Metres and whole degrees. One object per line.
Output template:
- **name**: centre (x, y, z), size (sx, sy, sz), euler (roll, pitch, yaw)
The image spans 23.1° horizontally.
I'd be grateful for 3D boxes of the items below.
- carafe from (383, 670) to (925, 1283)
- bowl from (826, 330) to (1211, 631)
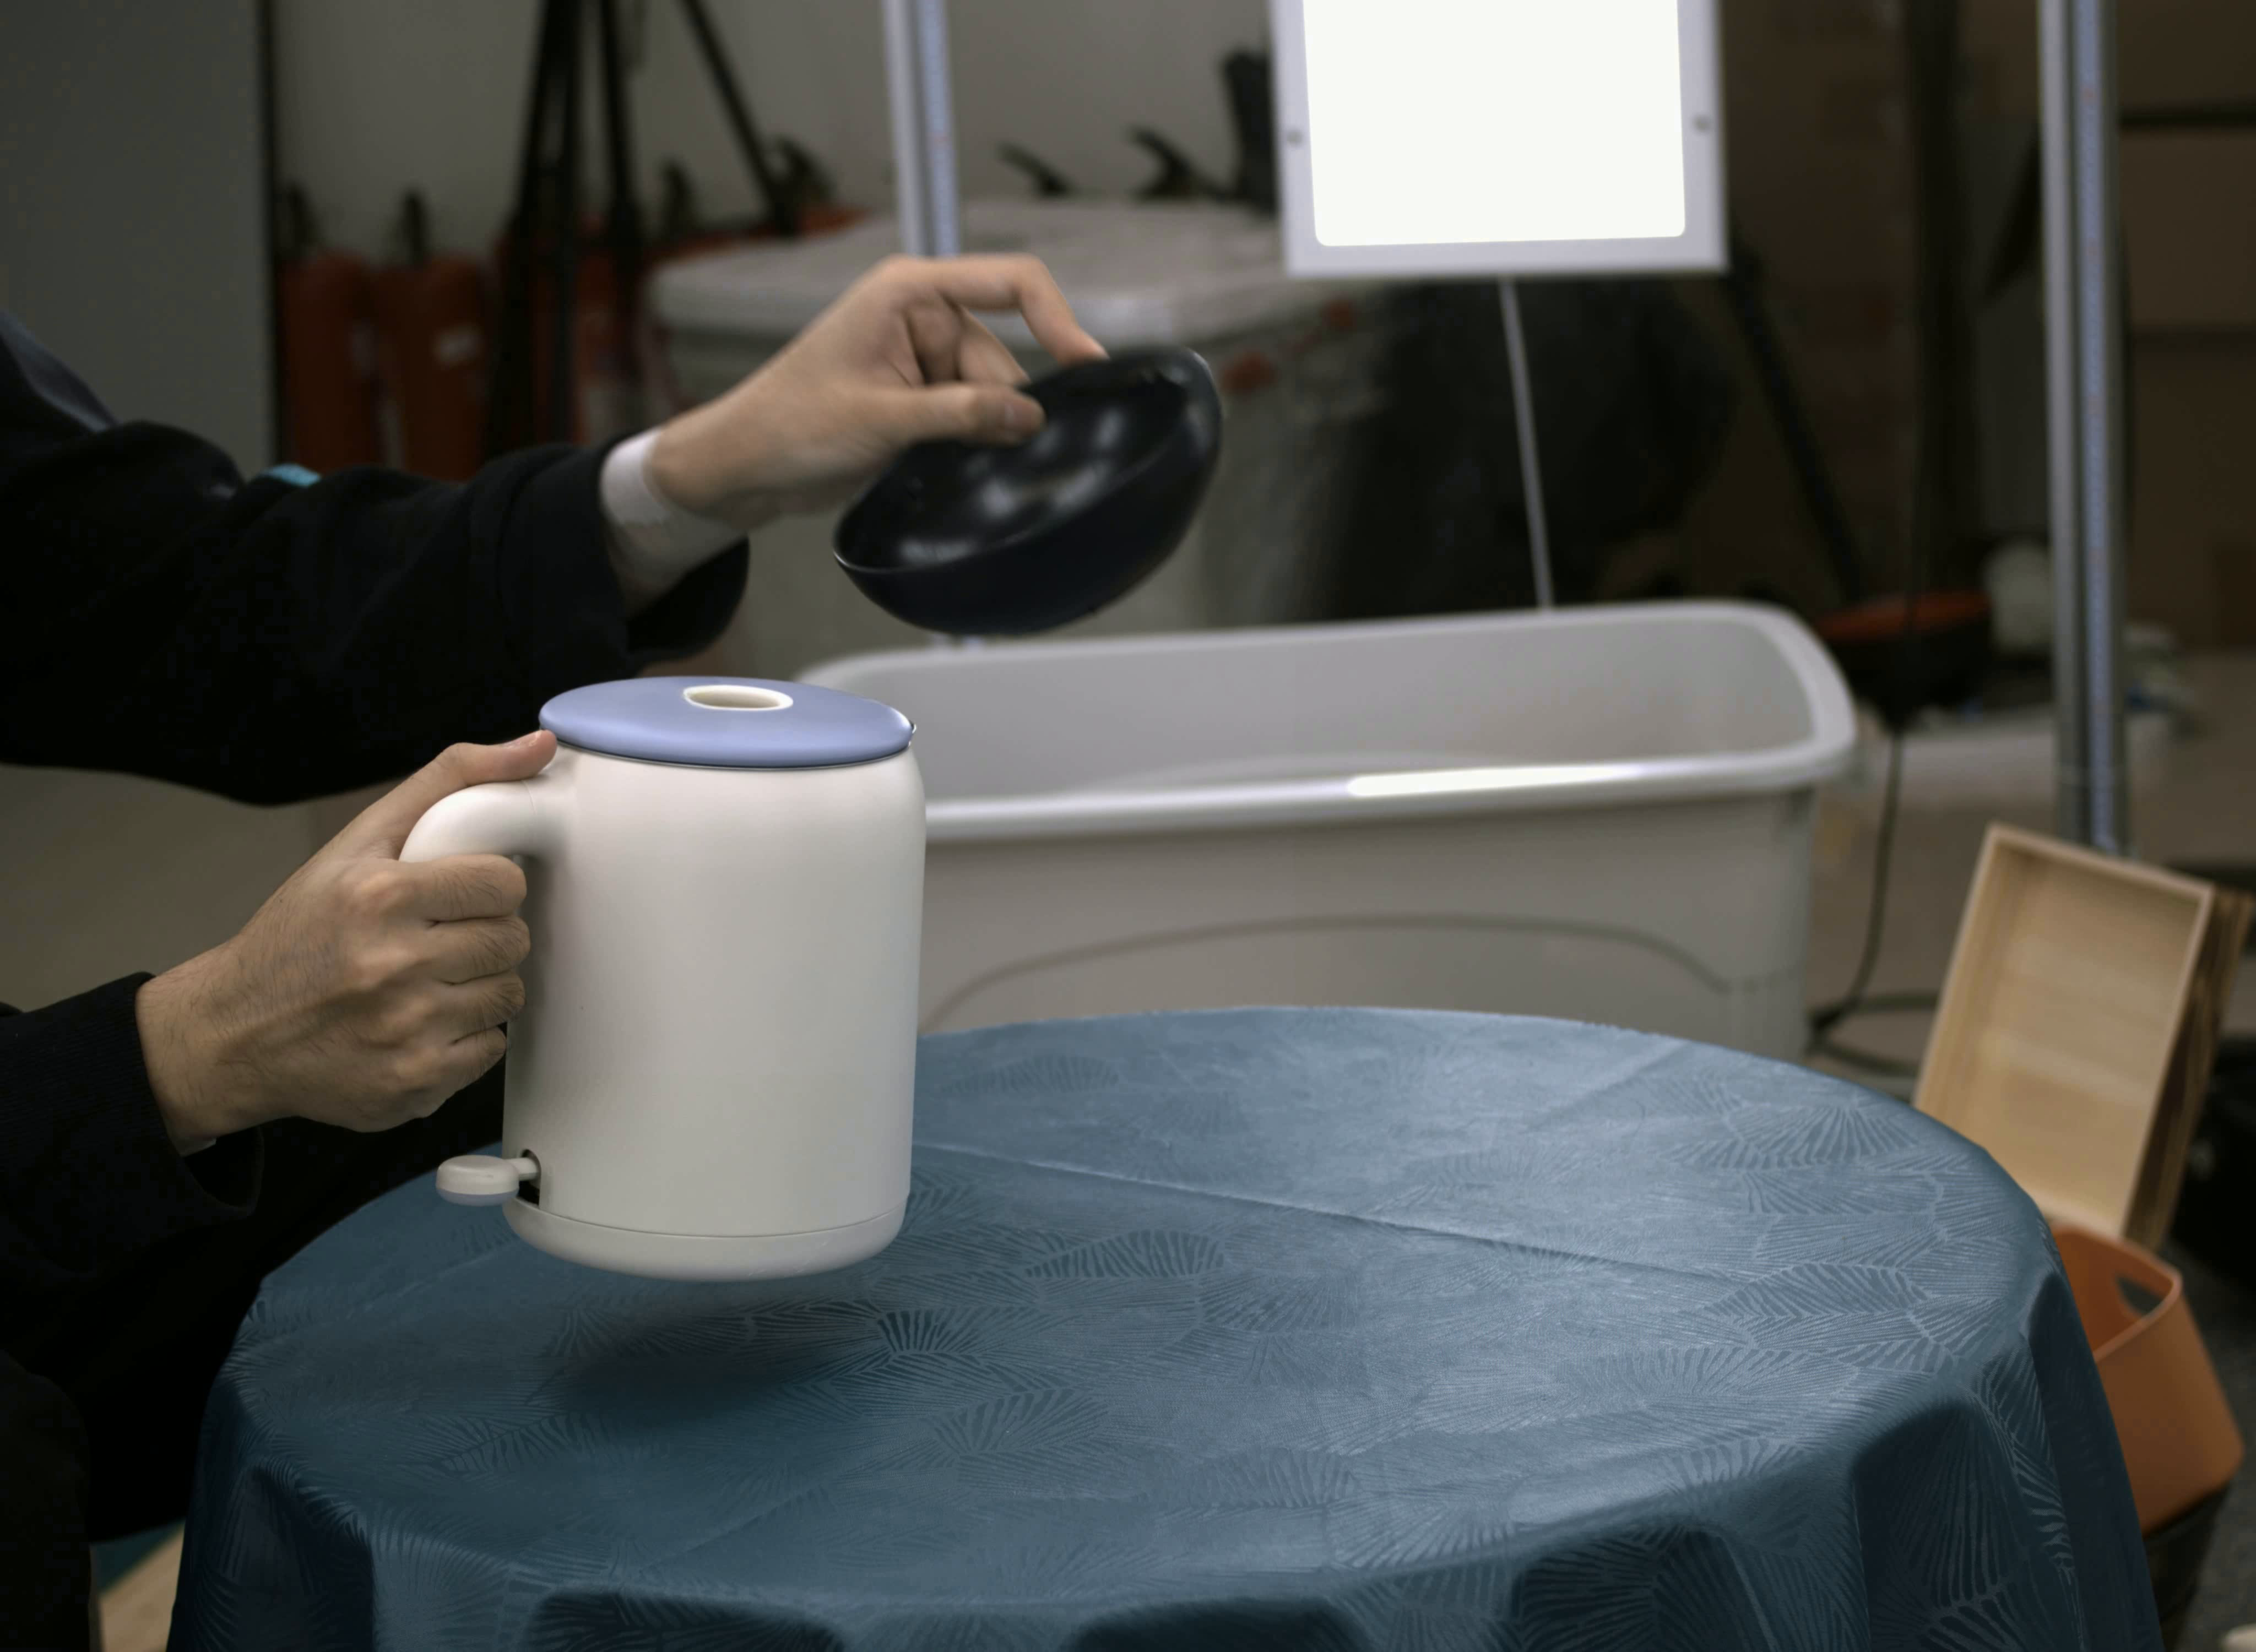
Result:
- **carafe**: centre (-0.151, 0.049, 1.741), size (0.186, 0.183, 0.135), euler (-8, 14, -33)
- **bowl**: centre (-0.028, -0.105, 1.817), size (0.141, 0.049, 0.140), euler (-27, 23, 11)
